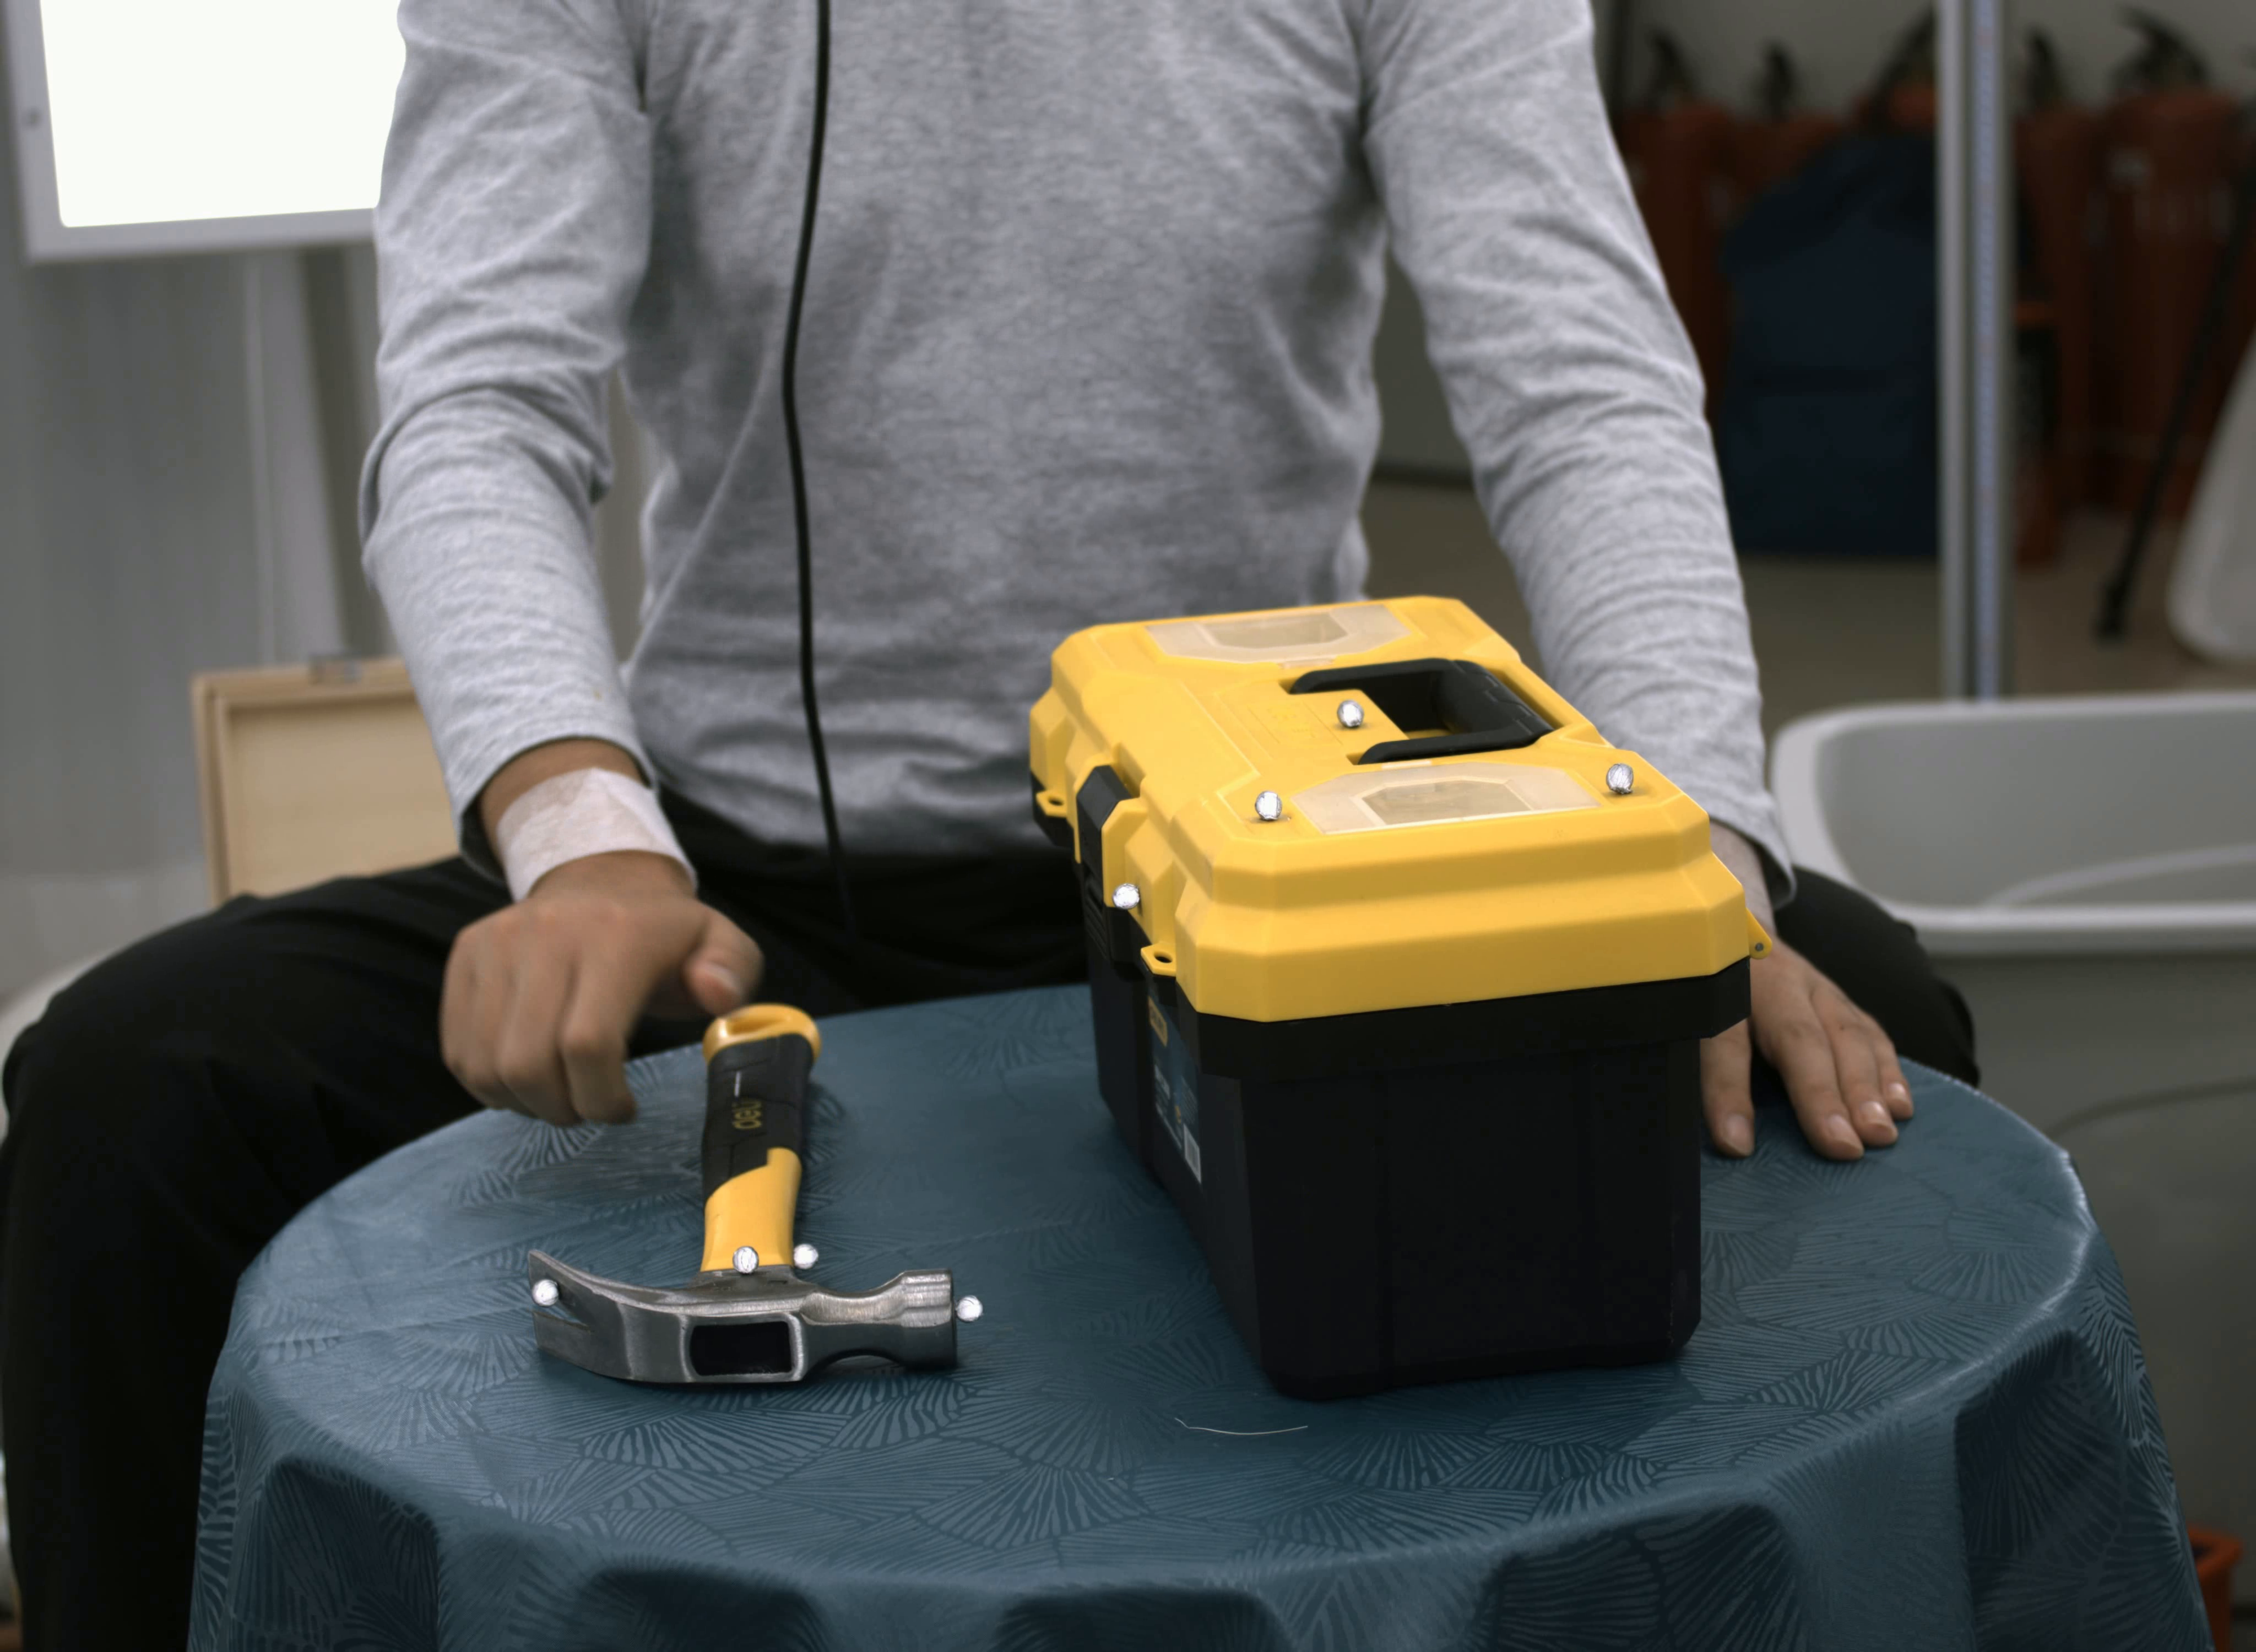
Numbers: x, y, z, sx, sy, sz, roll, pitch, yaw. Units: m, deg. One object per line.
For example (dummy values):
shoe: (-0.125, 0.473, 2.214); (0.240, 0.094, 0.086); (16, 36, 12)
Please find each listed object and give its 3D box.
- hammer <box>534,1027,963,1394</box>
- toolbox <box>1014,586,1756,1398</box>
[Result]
hammer: (-0.120, 0.119, 1.767); (0.130, 0.032, 0.339); (-7, 13, 0)
toolbox: (0.075, 0.044, 1.701); (0.178, 0.175, 0.353); (-6, 14, -8)
